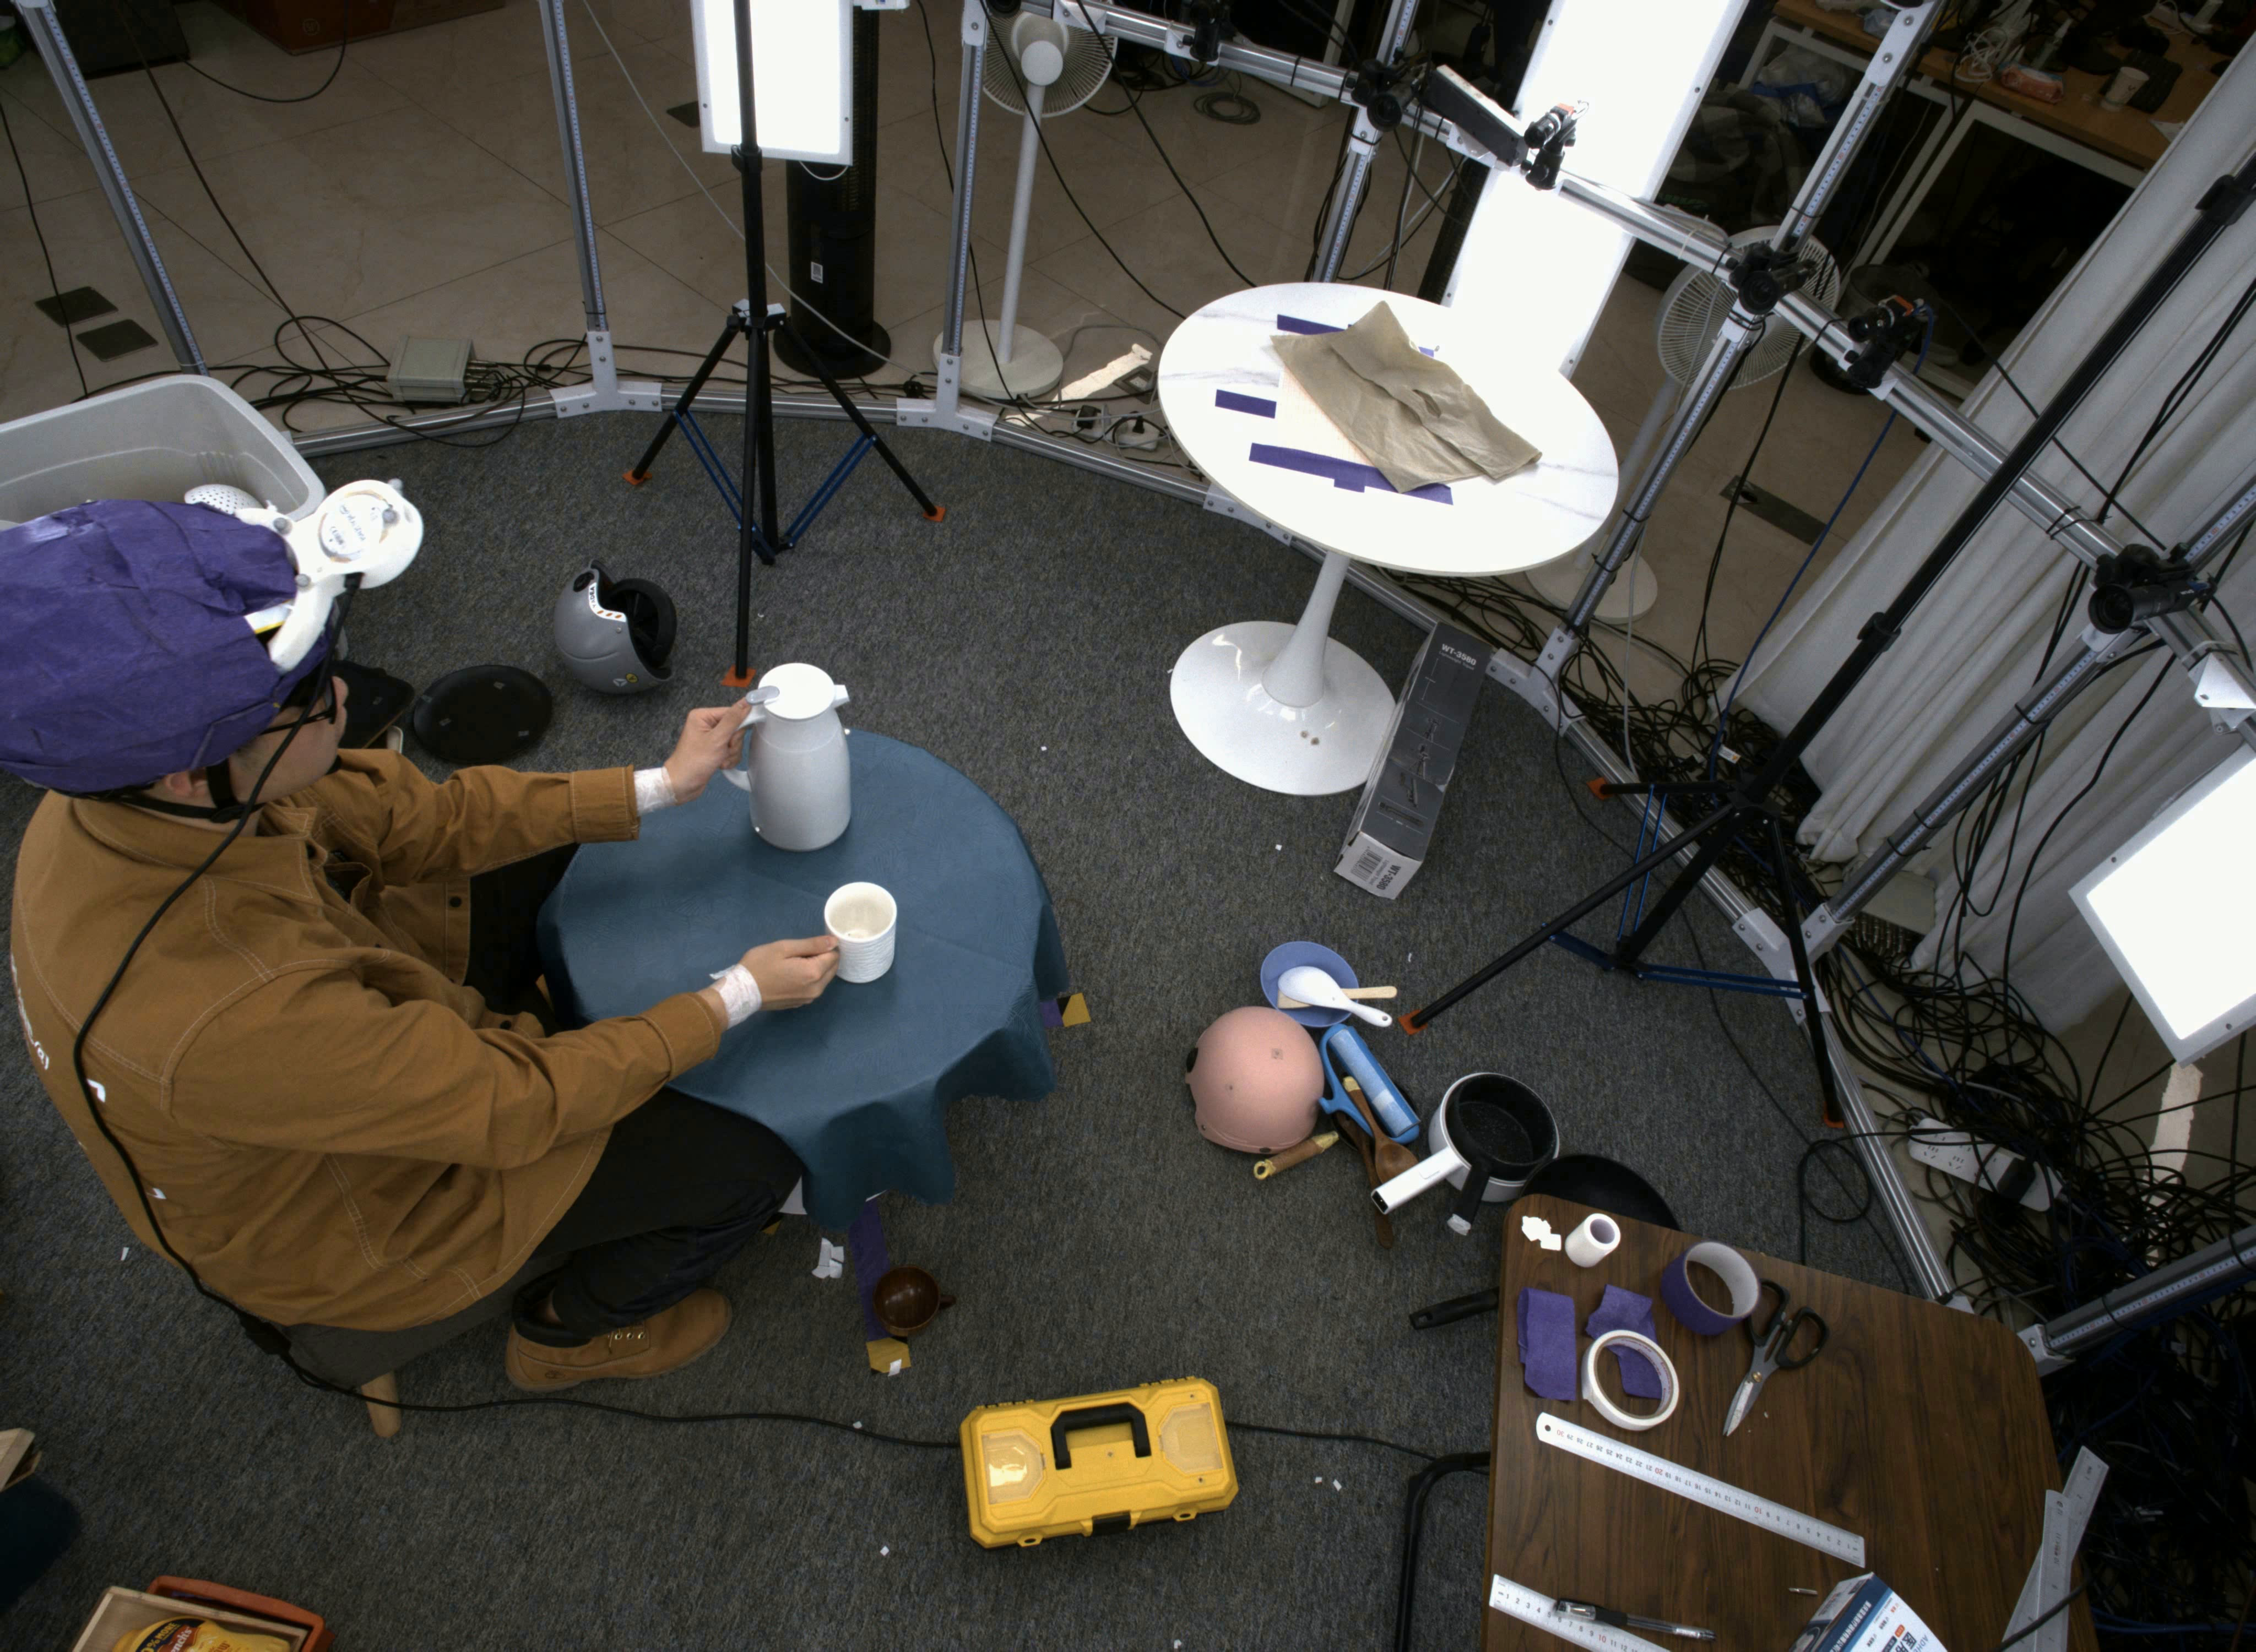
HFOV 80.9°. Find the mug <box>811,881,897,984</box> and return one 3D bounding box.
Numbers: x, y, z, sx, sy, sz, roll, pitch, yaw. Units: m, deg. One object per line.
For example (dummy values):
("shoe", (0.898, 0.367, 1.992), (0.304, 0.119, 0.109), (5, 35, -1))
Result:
("mug", (-0.335, 0.138, 1.574), (0.083, 0.104, 0.118), (37, 54, 16))

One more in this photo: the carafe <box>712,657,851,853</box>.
("carafe", (-0.435, -0.091, 1.626), (0.168, 0.254, 0.129), (-14, 57, -21))
